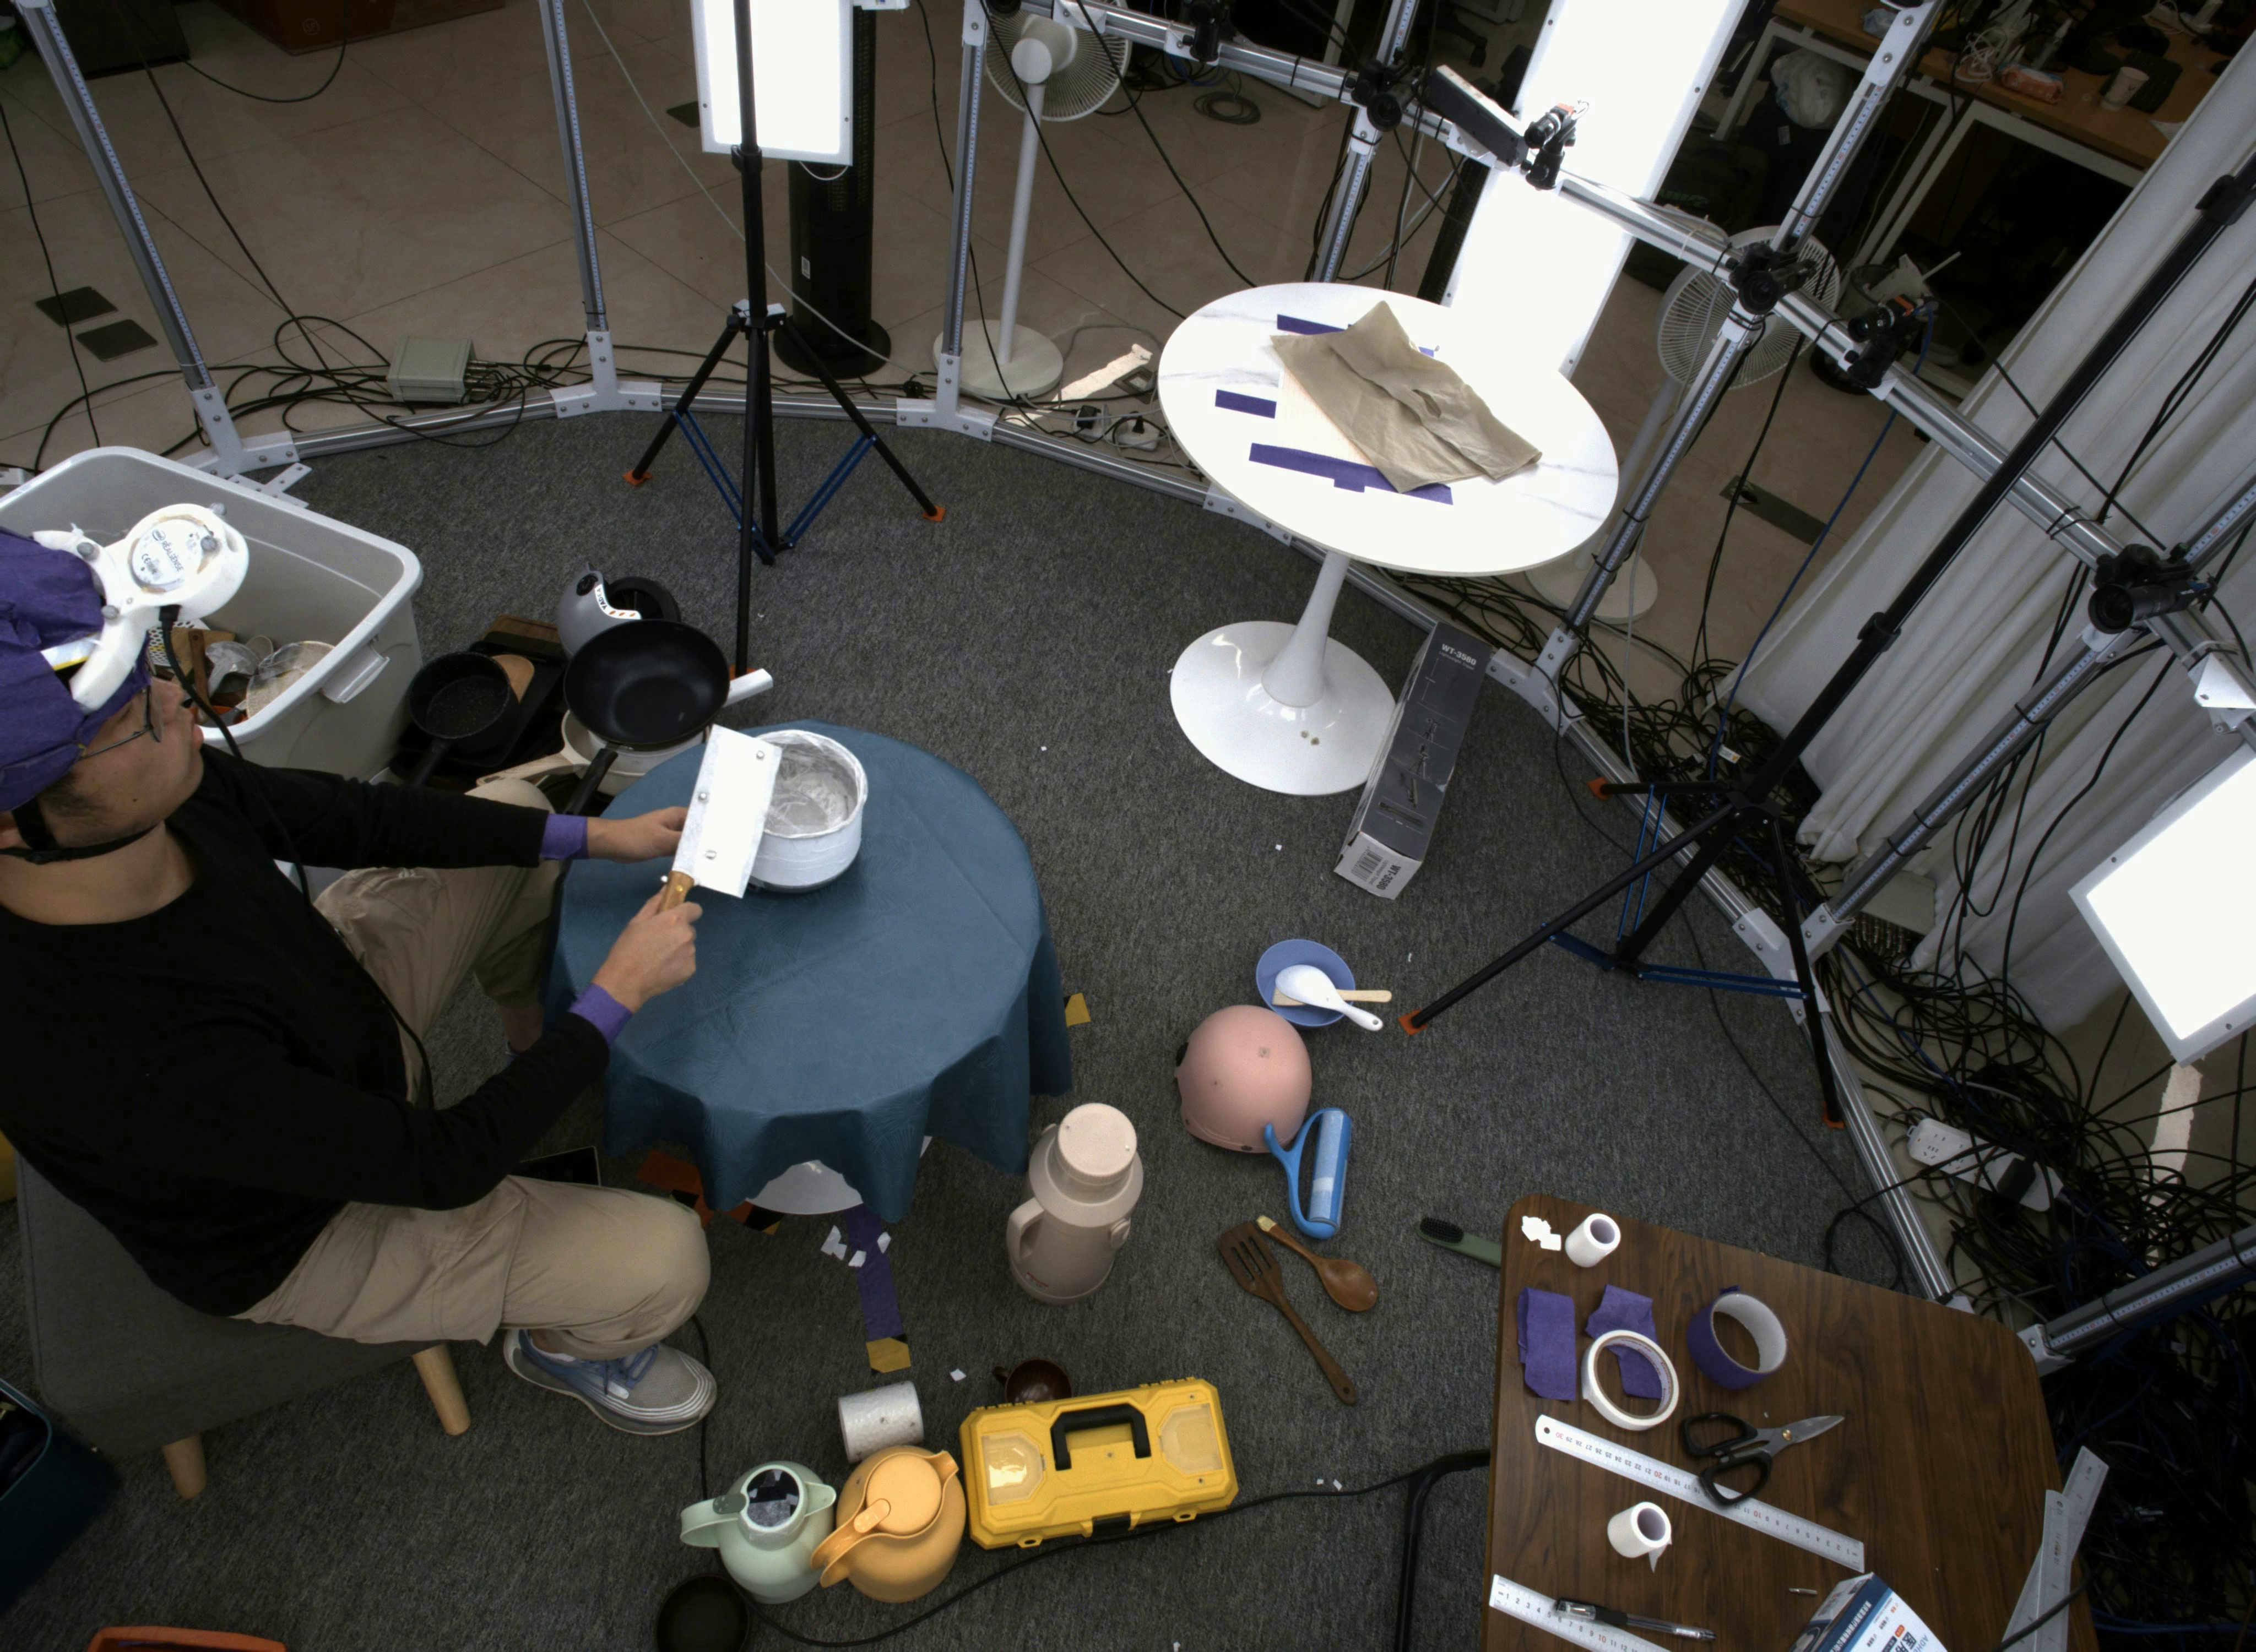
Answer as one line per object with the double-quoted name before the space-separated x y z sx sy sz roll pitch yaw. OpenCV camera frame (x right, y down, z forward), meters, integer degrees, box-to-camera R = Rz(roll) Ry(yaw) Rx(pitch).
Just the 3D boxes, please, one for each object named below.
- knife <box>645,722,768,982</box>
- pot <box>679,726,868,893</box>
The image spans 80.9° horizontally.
"knife" -0.483 0.033 1.493 0.095 0.020 0.306 20 75 -32
"pot" -0.447 -0.010 1.623 0.235 0.139 0.174 -18 58 -32
